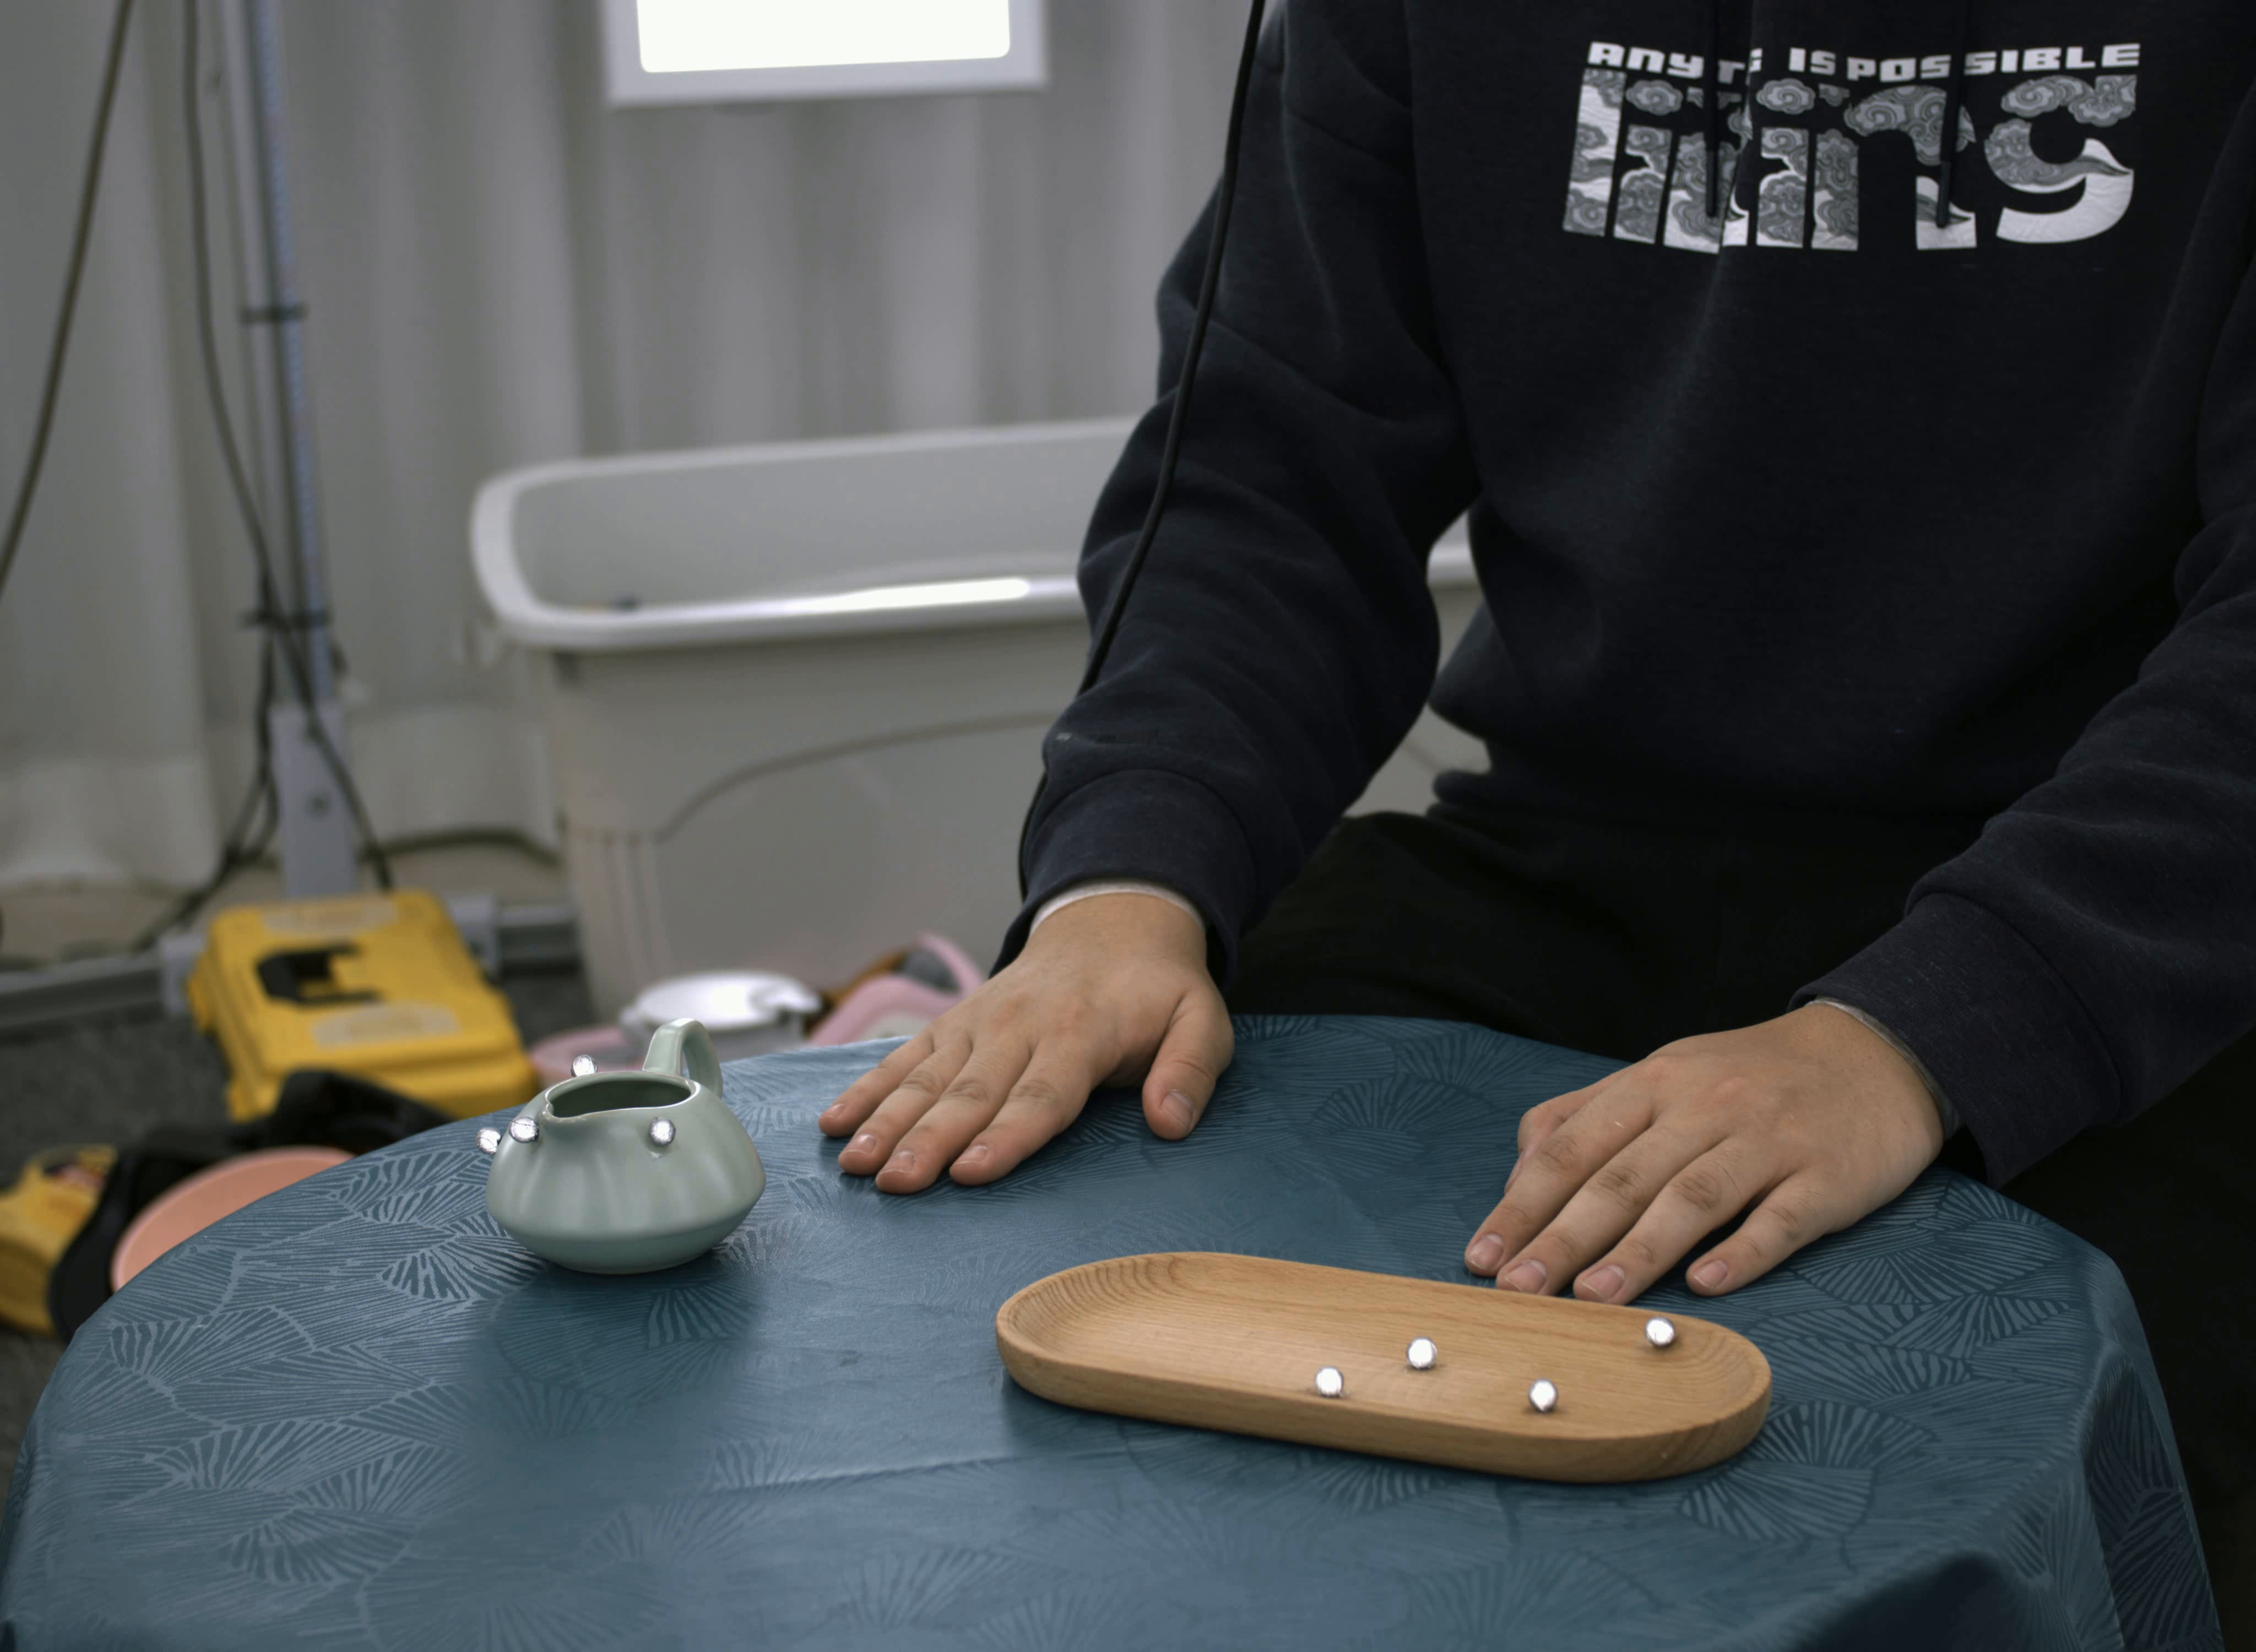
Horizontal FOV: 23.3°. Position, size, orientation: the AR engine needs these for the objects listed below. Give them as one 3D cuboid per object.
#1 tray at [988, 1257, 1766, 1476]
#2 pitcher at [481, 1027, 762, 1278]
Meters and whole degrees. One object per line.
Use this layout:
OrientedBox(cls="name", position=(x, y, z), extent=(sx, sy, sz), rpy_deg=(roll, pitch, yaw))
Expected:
OrientedBox(cls="tray", position=(0.068, 0.152, 1.537), extent=(0.231, 0.020, 0.102), rpy_deg=(3, 14, 28))
OrientedBox(cls="pitcher", position=(-0.152, 0.101, 1.687), extent=(0.086, 0.060, 0.108), rpy_deg=(3, 14, 18))
